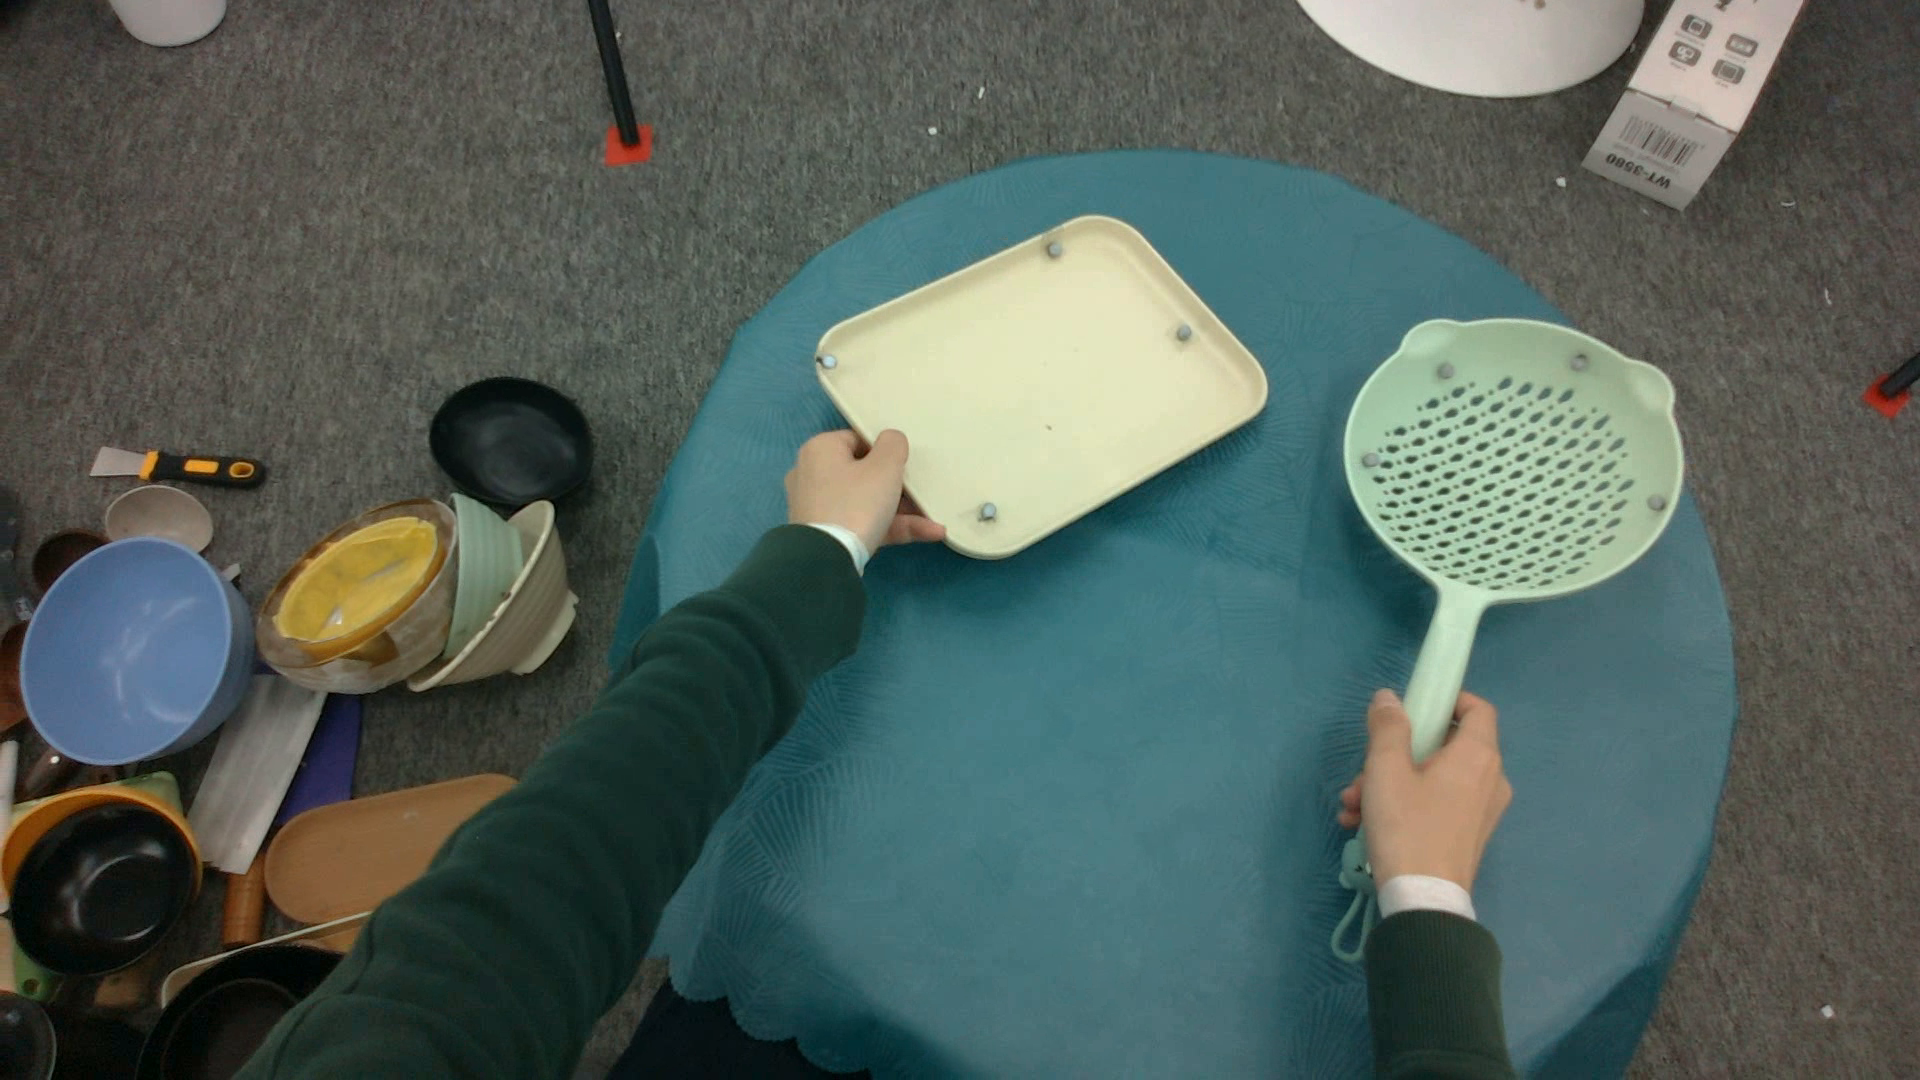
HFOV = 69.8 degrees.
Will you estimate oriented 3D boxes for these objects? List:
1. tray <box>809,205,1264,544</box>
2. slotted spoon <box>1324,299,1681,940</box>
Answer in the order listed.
[{"bbox_3d":[0.047,-0.100,0.785,0.240,0.017,0.171,-29,68,-28],"label":"tray"},{"bbox_3d":[0.255,0.032,0.712,0.169,0.075,0.360,17,62,22],"label":"slotted spoon"}]
